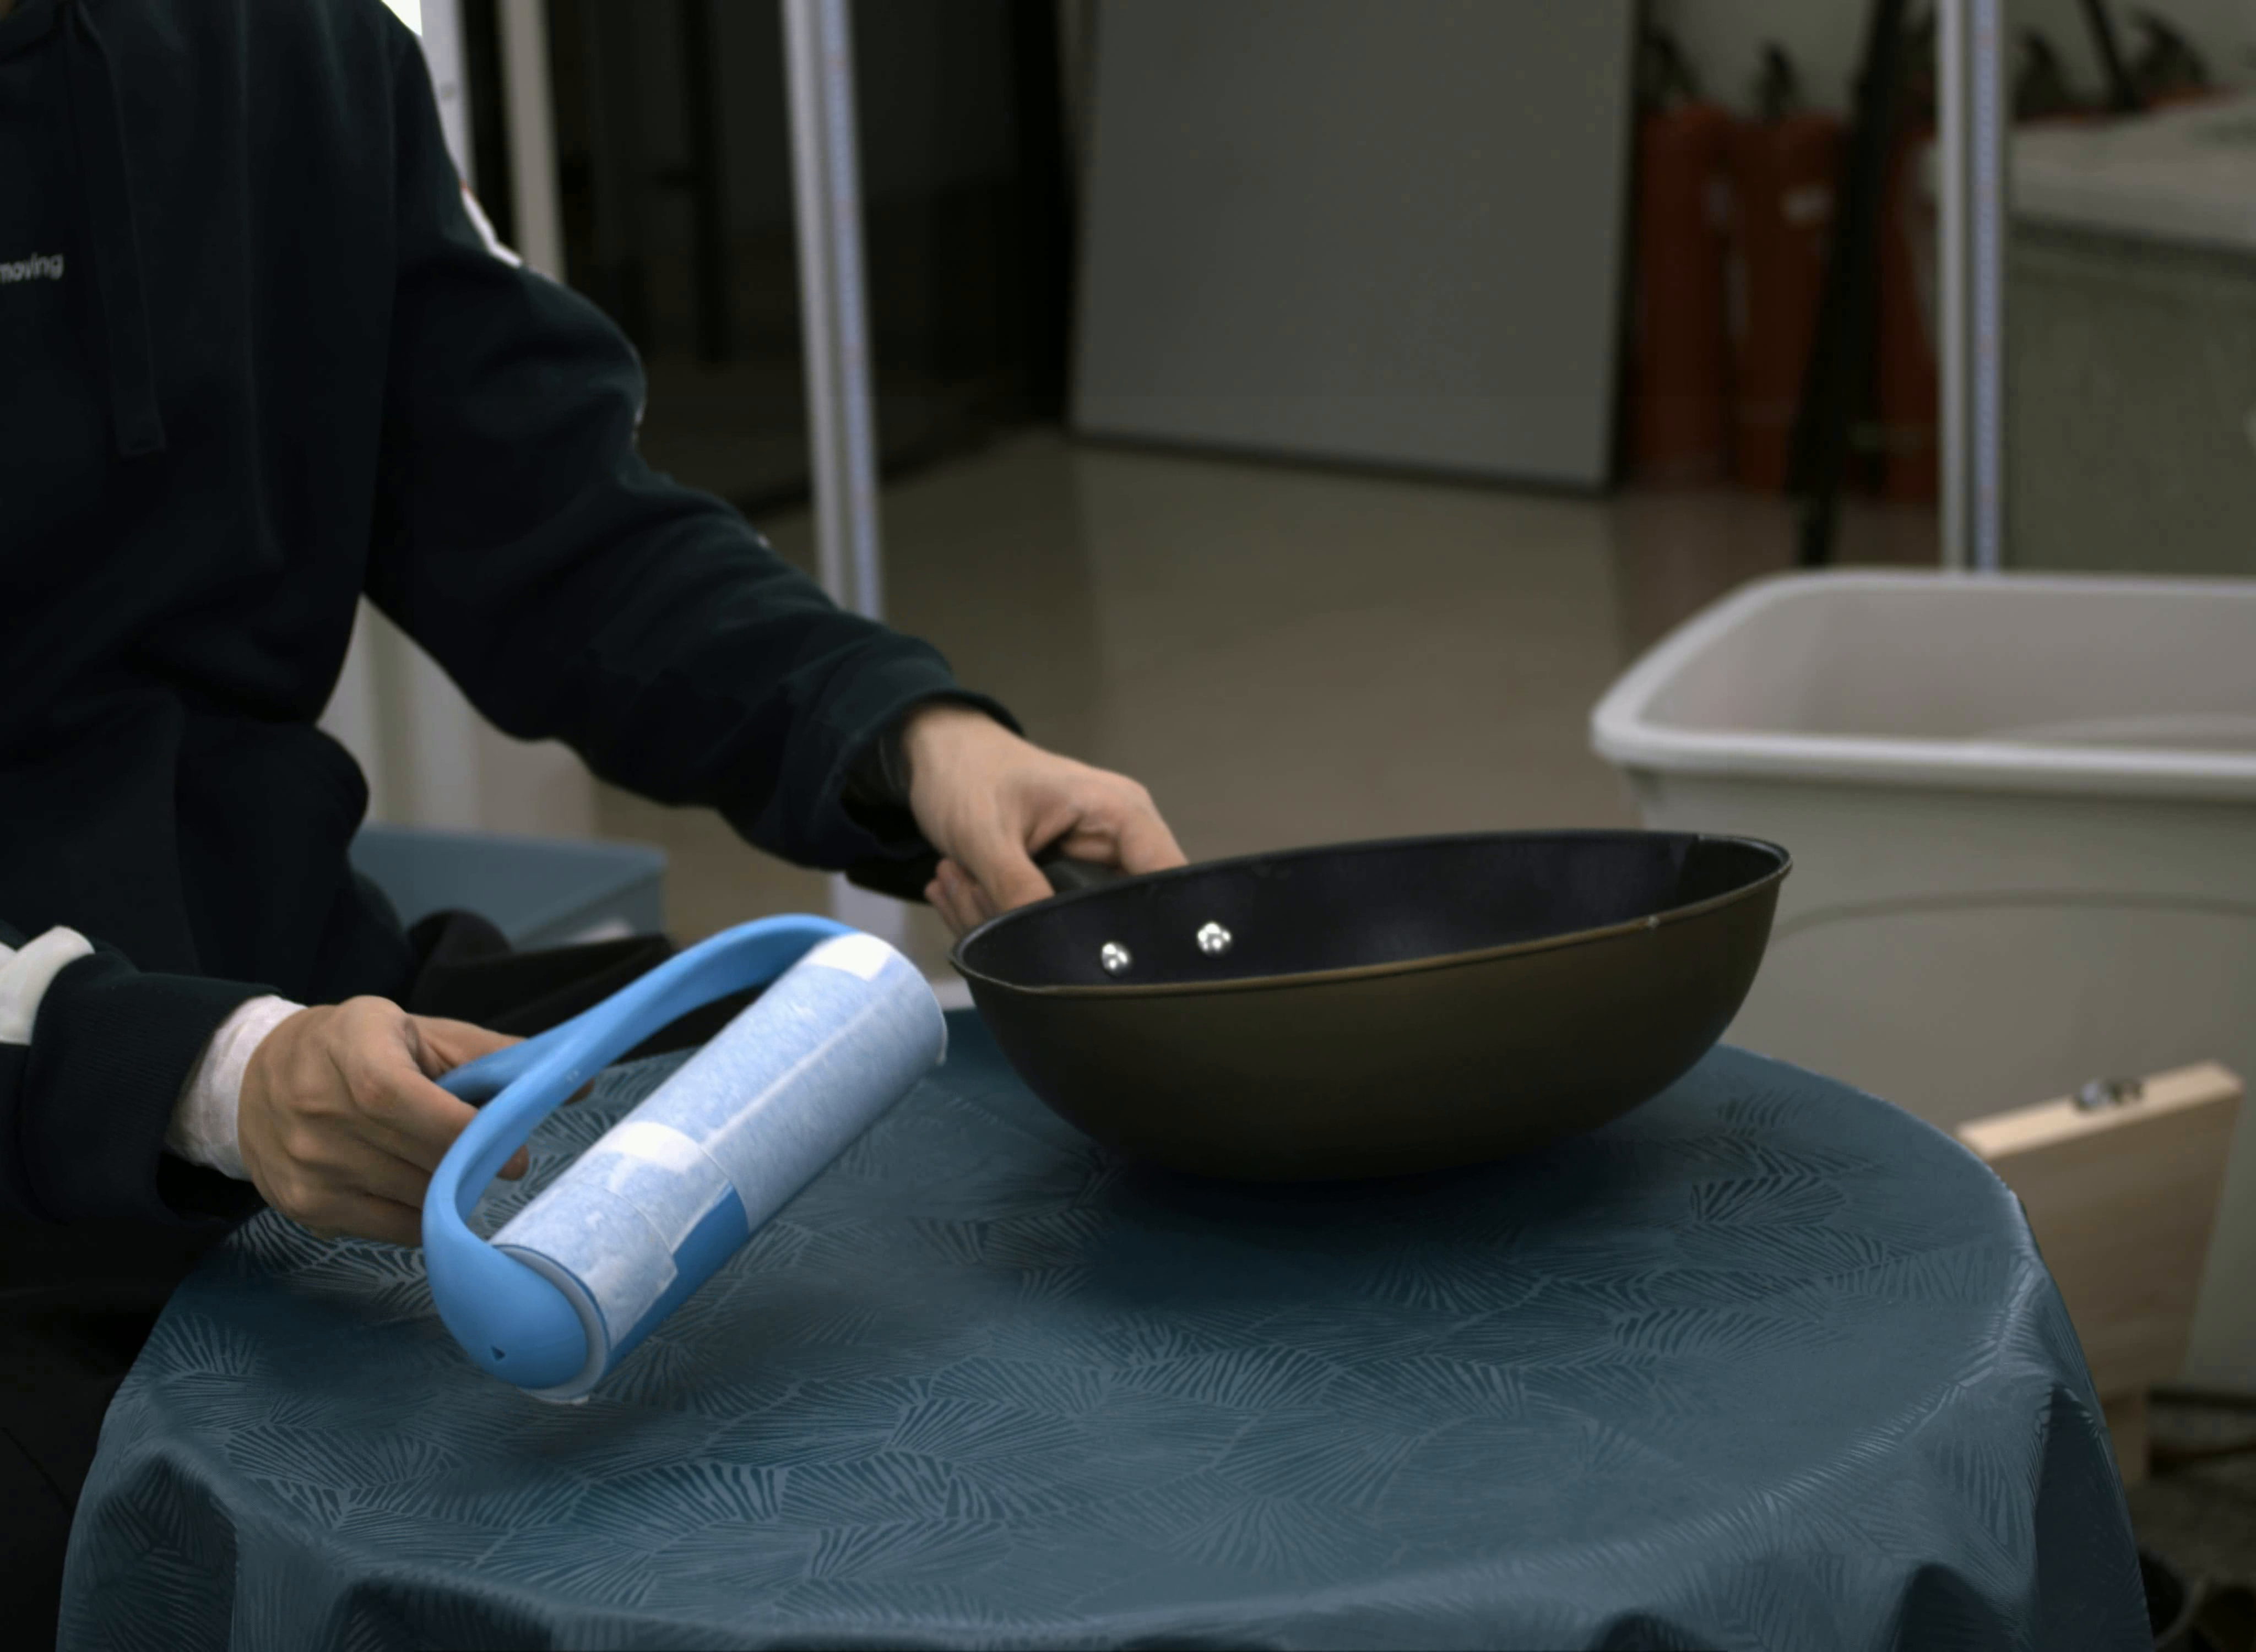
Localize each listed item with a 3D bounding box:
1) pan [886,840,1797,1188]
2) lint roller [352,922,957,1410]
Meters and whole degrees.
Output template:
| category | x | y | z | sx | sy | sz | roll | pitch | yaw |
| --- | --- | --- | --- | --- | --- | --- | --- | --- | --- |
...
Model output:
| category | x | y | z | sx | sy | sz | roll | pitch | yaw |
| --- | --- | --- | --- | --- | --- | --- | --- | --- | --- |
| pan | 0.035 | 0.061 | 1.850 | 0.281 | 0.088 | 0.468 | -10 | 7 | -31 |
| lint roller | -0.172 | 0.101 | 1.654 | 0.181 | 0.068 | 0.227 | 0 | 28 | 30 |
